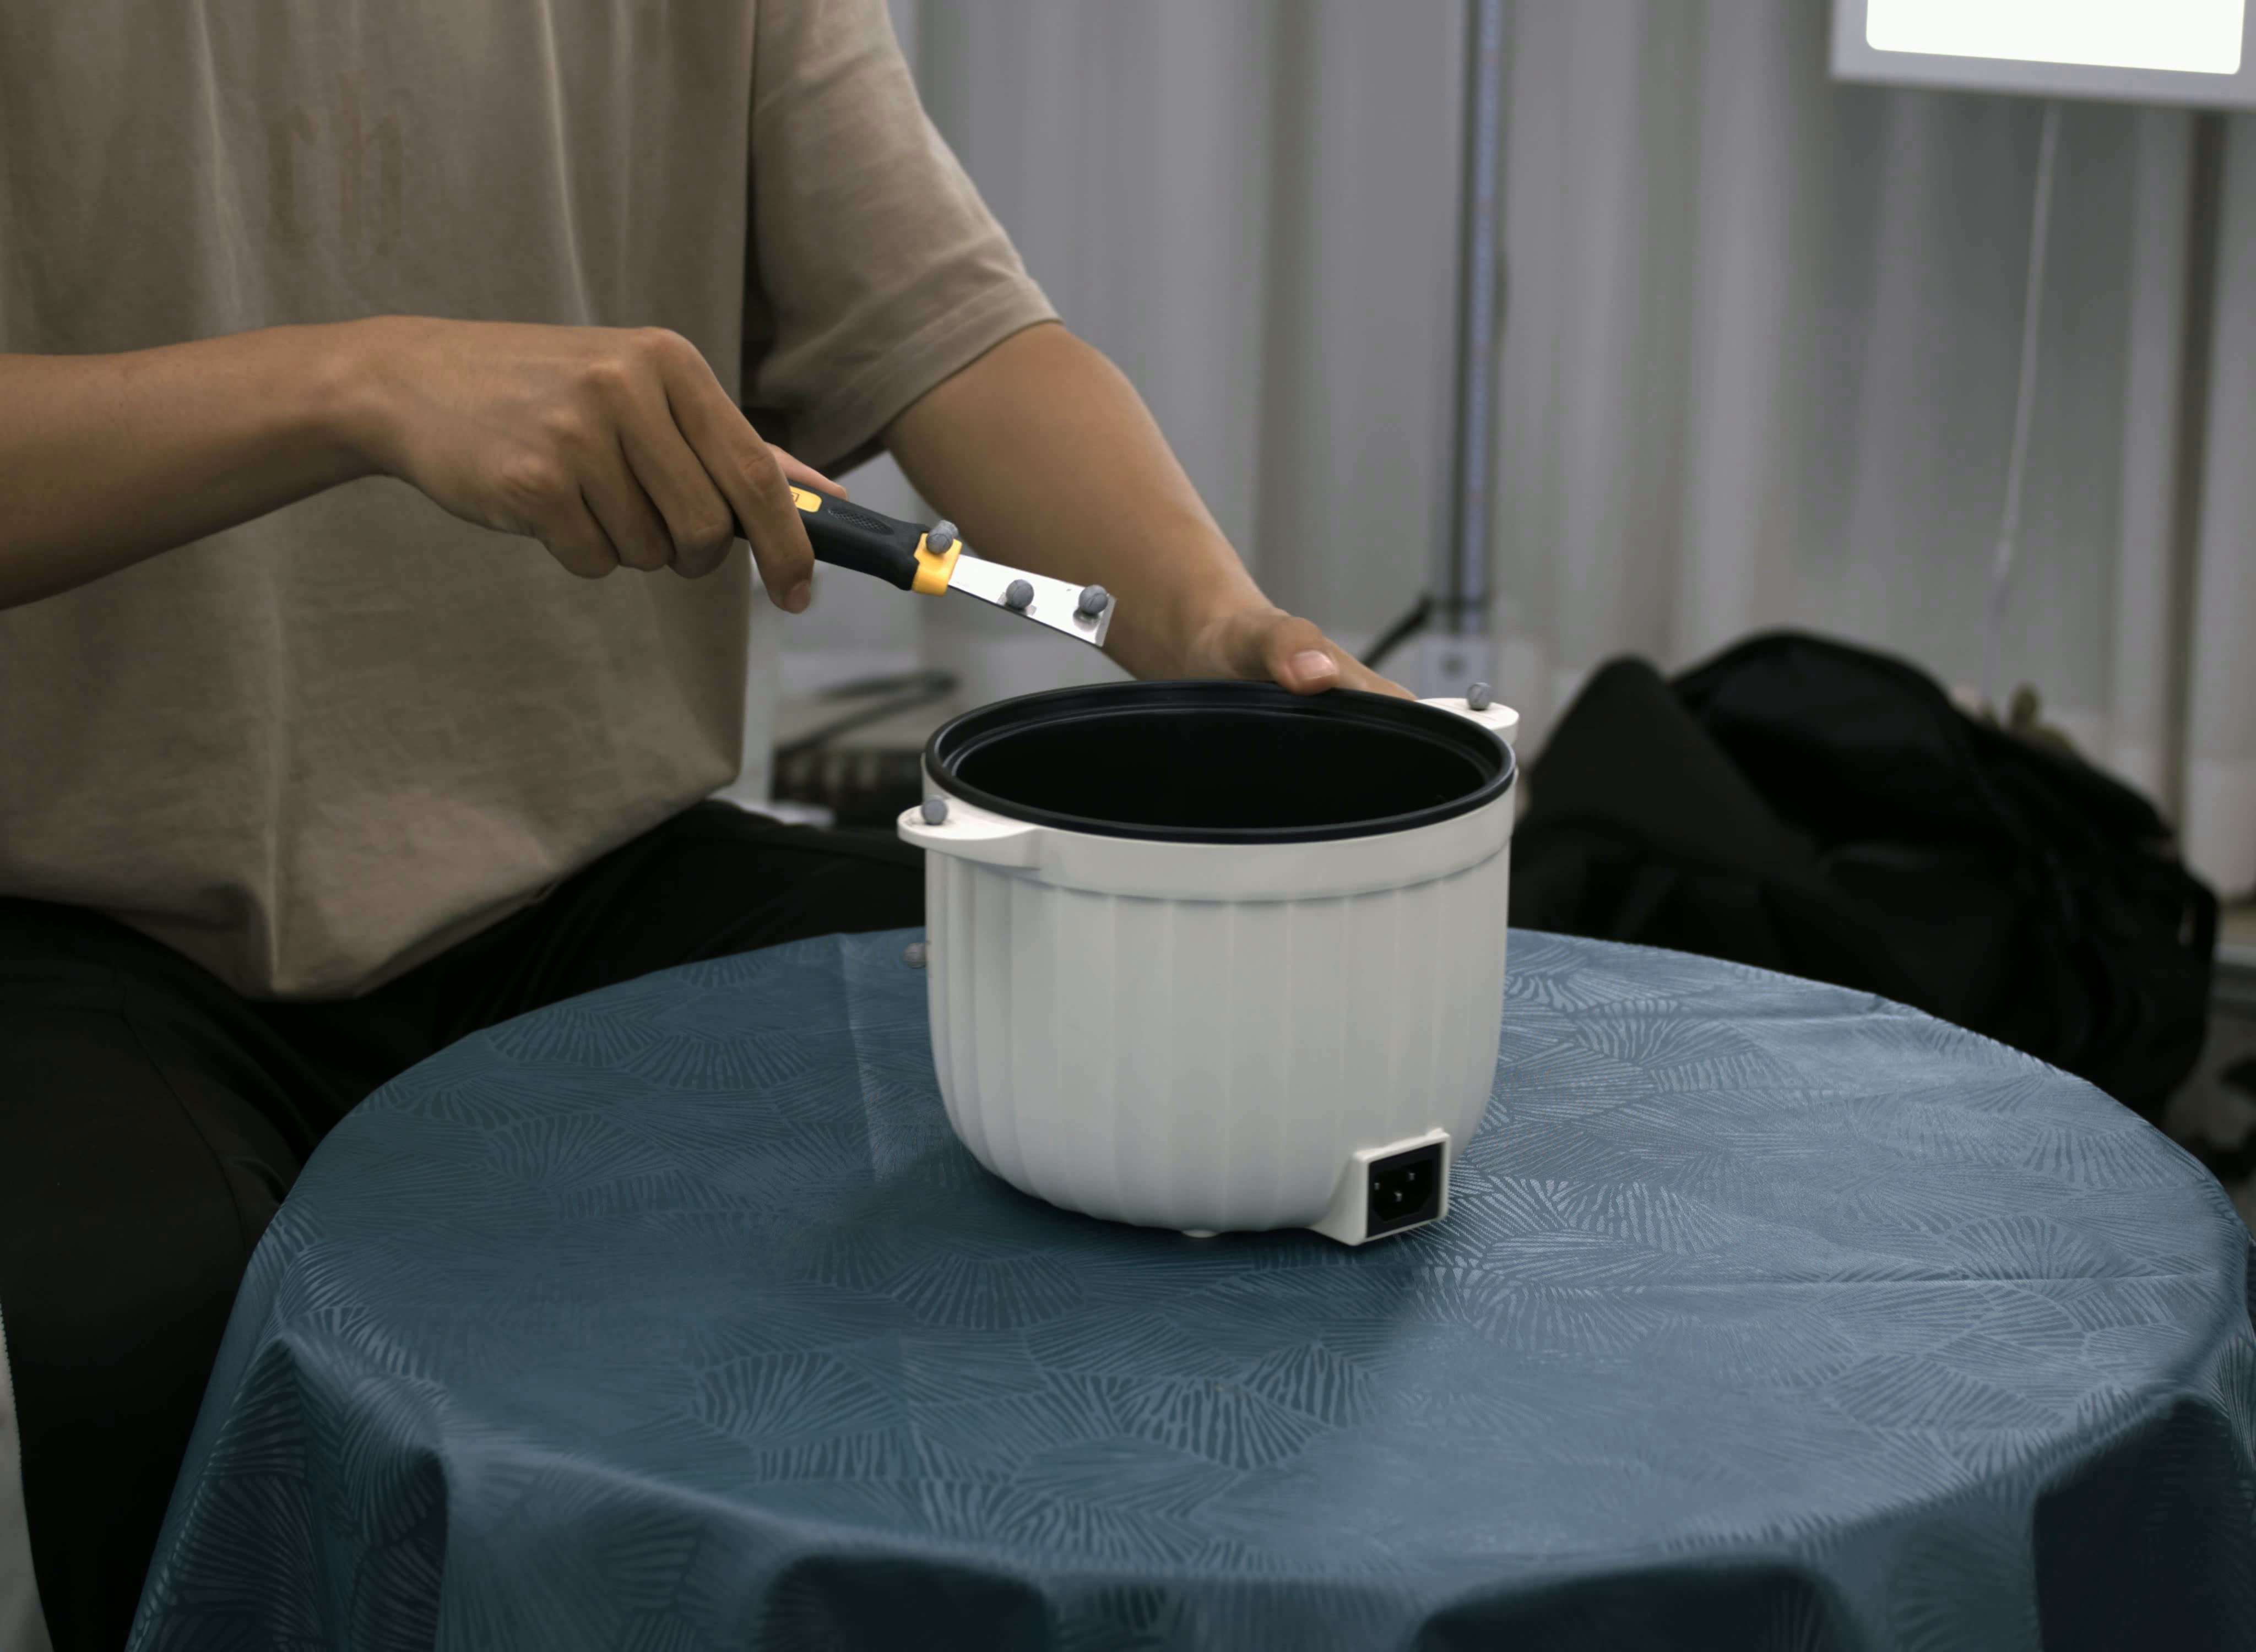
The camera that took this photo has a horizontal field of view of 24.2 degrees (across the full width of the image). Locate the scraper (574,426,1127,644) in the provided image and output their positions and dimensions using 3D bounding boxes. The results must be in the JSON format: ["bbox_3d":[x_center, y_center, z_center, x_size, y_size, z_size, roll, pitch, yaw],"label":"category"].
[{"bbox_3d":[-0.084,-0.088,1.582,0.171,0.015,0.038,17,35,-4],"label":"scraper"}]

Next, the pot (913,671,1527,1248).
[{"bbox_3d":[0.025,0.040,1.627,0.241,0.144,0.188,-12,24,-40],"label":"pot"}]
